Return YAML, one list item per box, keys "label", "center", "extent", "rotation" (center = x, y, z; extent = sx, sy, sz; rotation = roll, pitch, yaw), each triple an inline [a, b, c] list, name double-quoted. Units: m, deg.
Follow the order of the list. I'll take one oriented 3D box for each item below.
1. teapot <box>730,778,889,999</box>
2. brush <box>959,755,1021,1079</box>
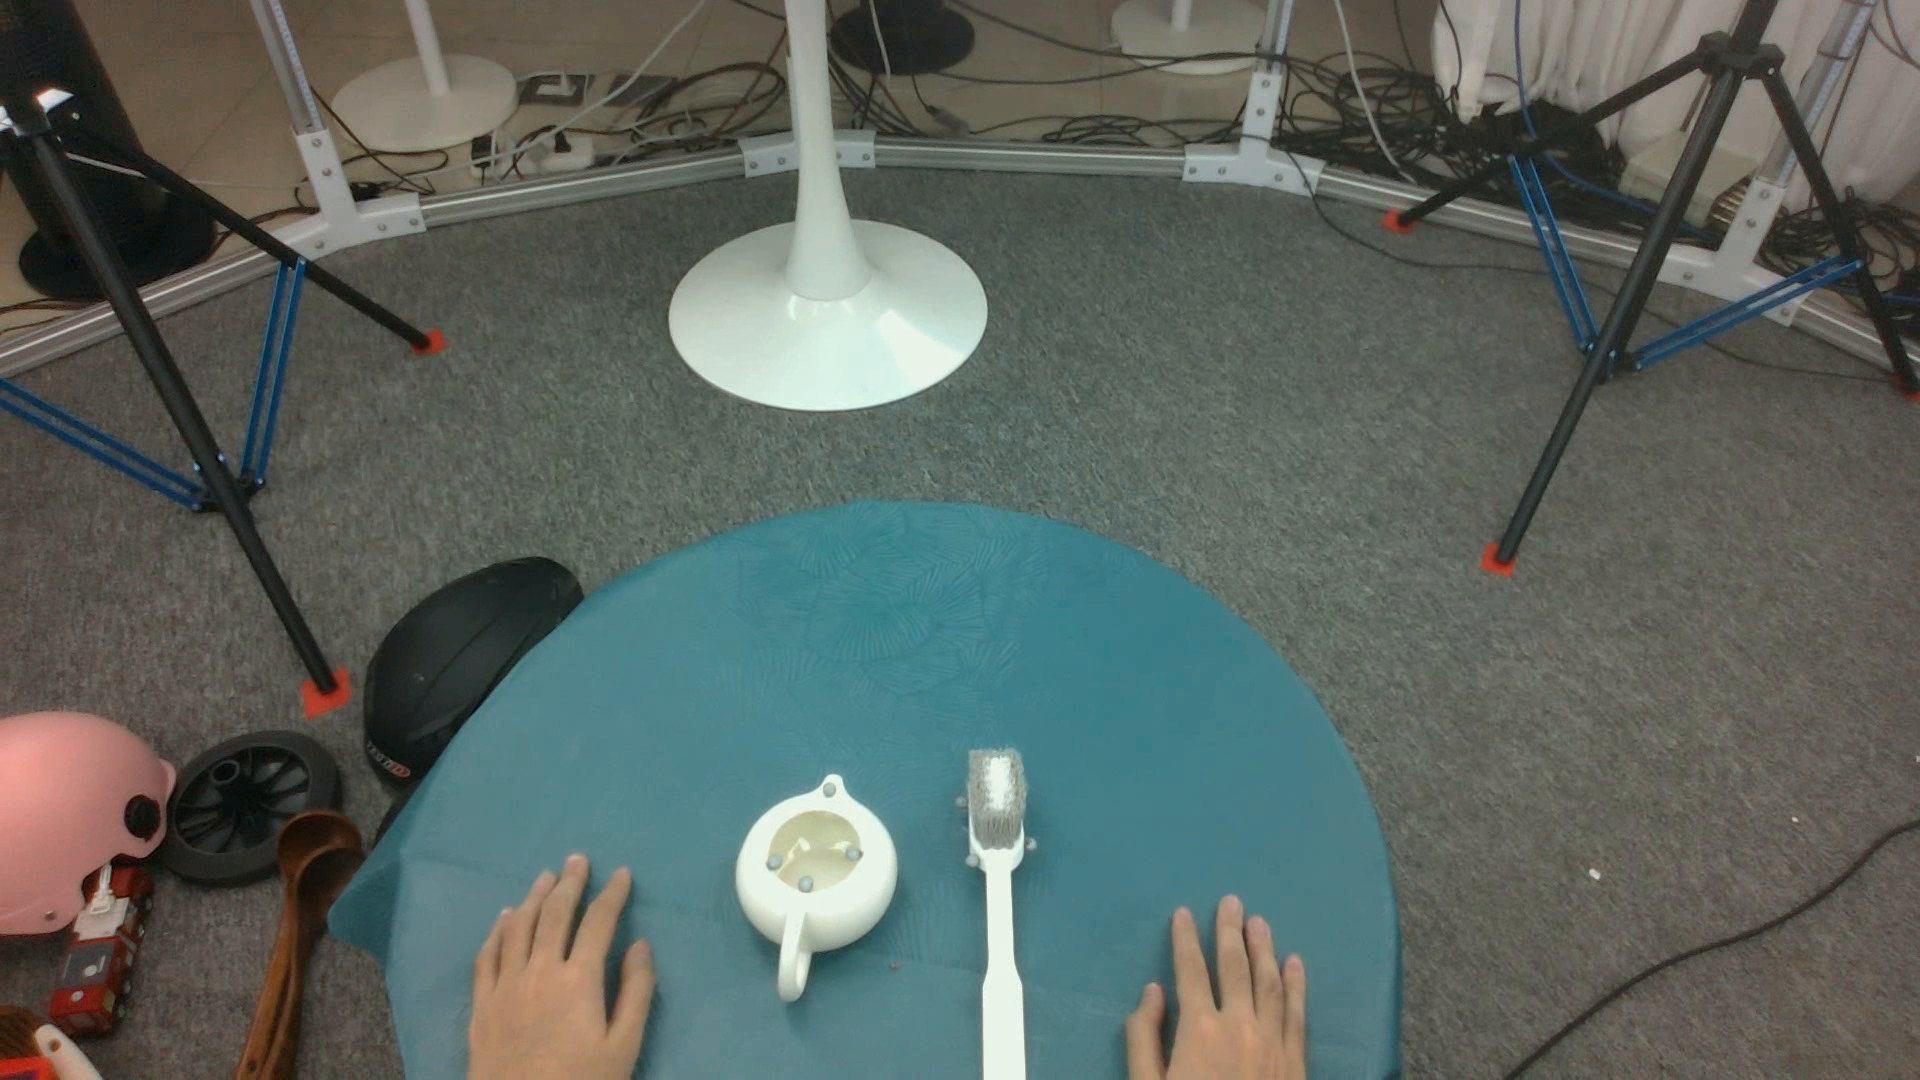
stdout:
- label: "teapot"
  center: [-0.090, 0.204, 0.807]
  extent: [0.093, 0.056, 0.128]
  rotation: [8, 48, -1]
- label: "brush"
  center: [0.016, 0.229, 0.789]
  extent: [0.034, 0.050, 0.245]
  rotation: [5, 46, -2]
